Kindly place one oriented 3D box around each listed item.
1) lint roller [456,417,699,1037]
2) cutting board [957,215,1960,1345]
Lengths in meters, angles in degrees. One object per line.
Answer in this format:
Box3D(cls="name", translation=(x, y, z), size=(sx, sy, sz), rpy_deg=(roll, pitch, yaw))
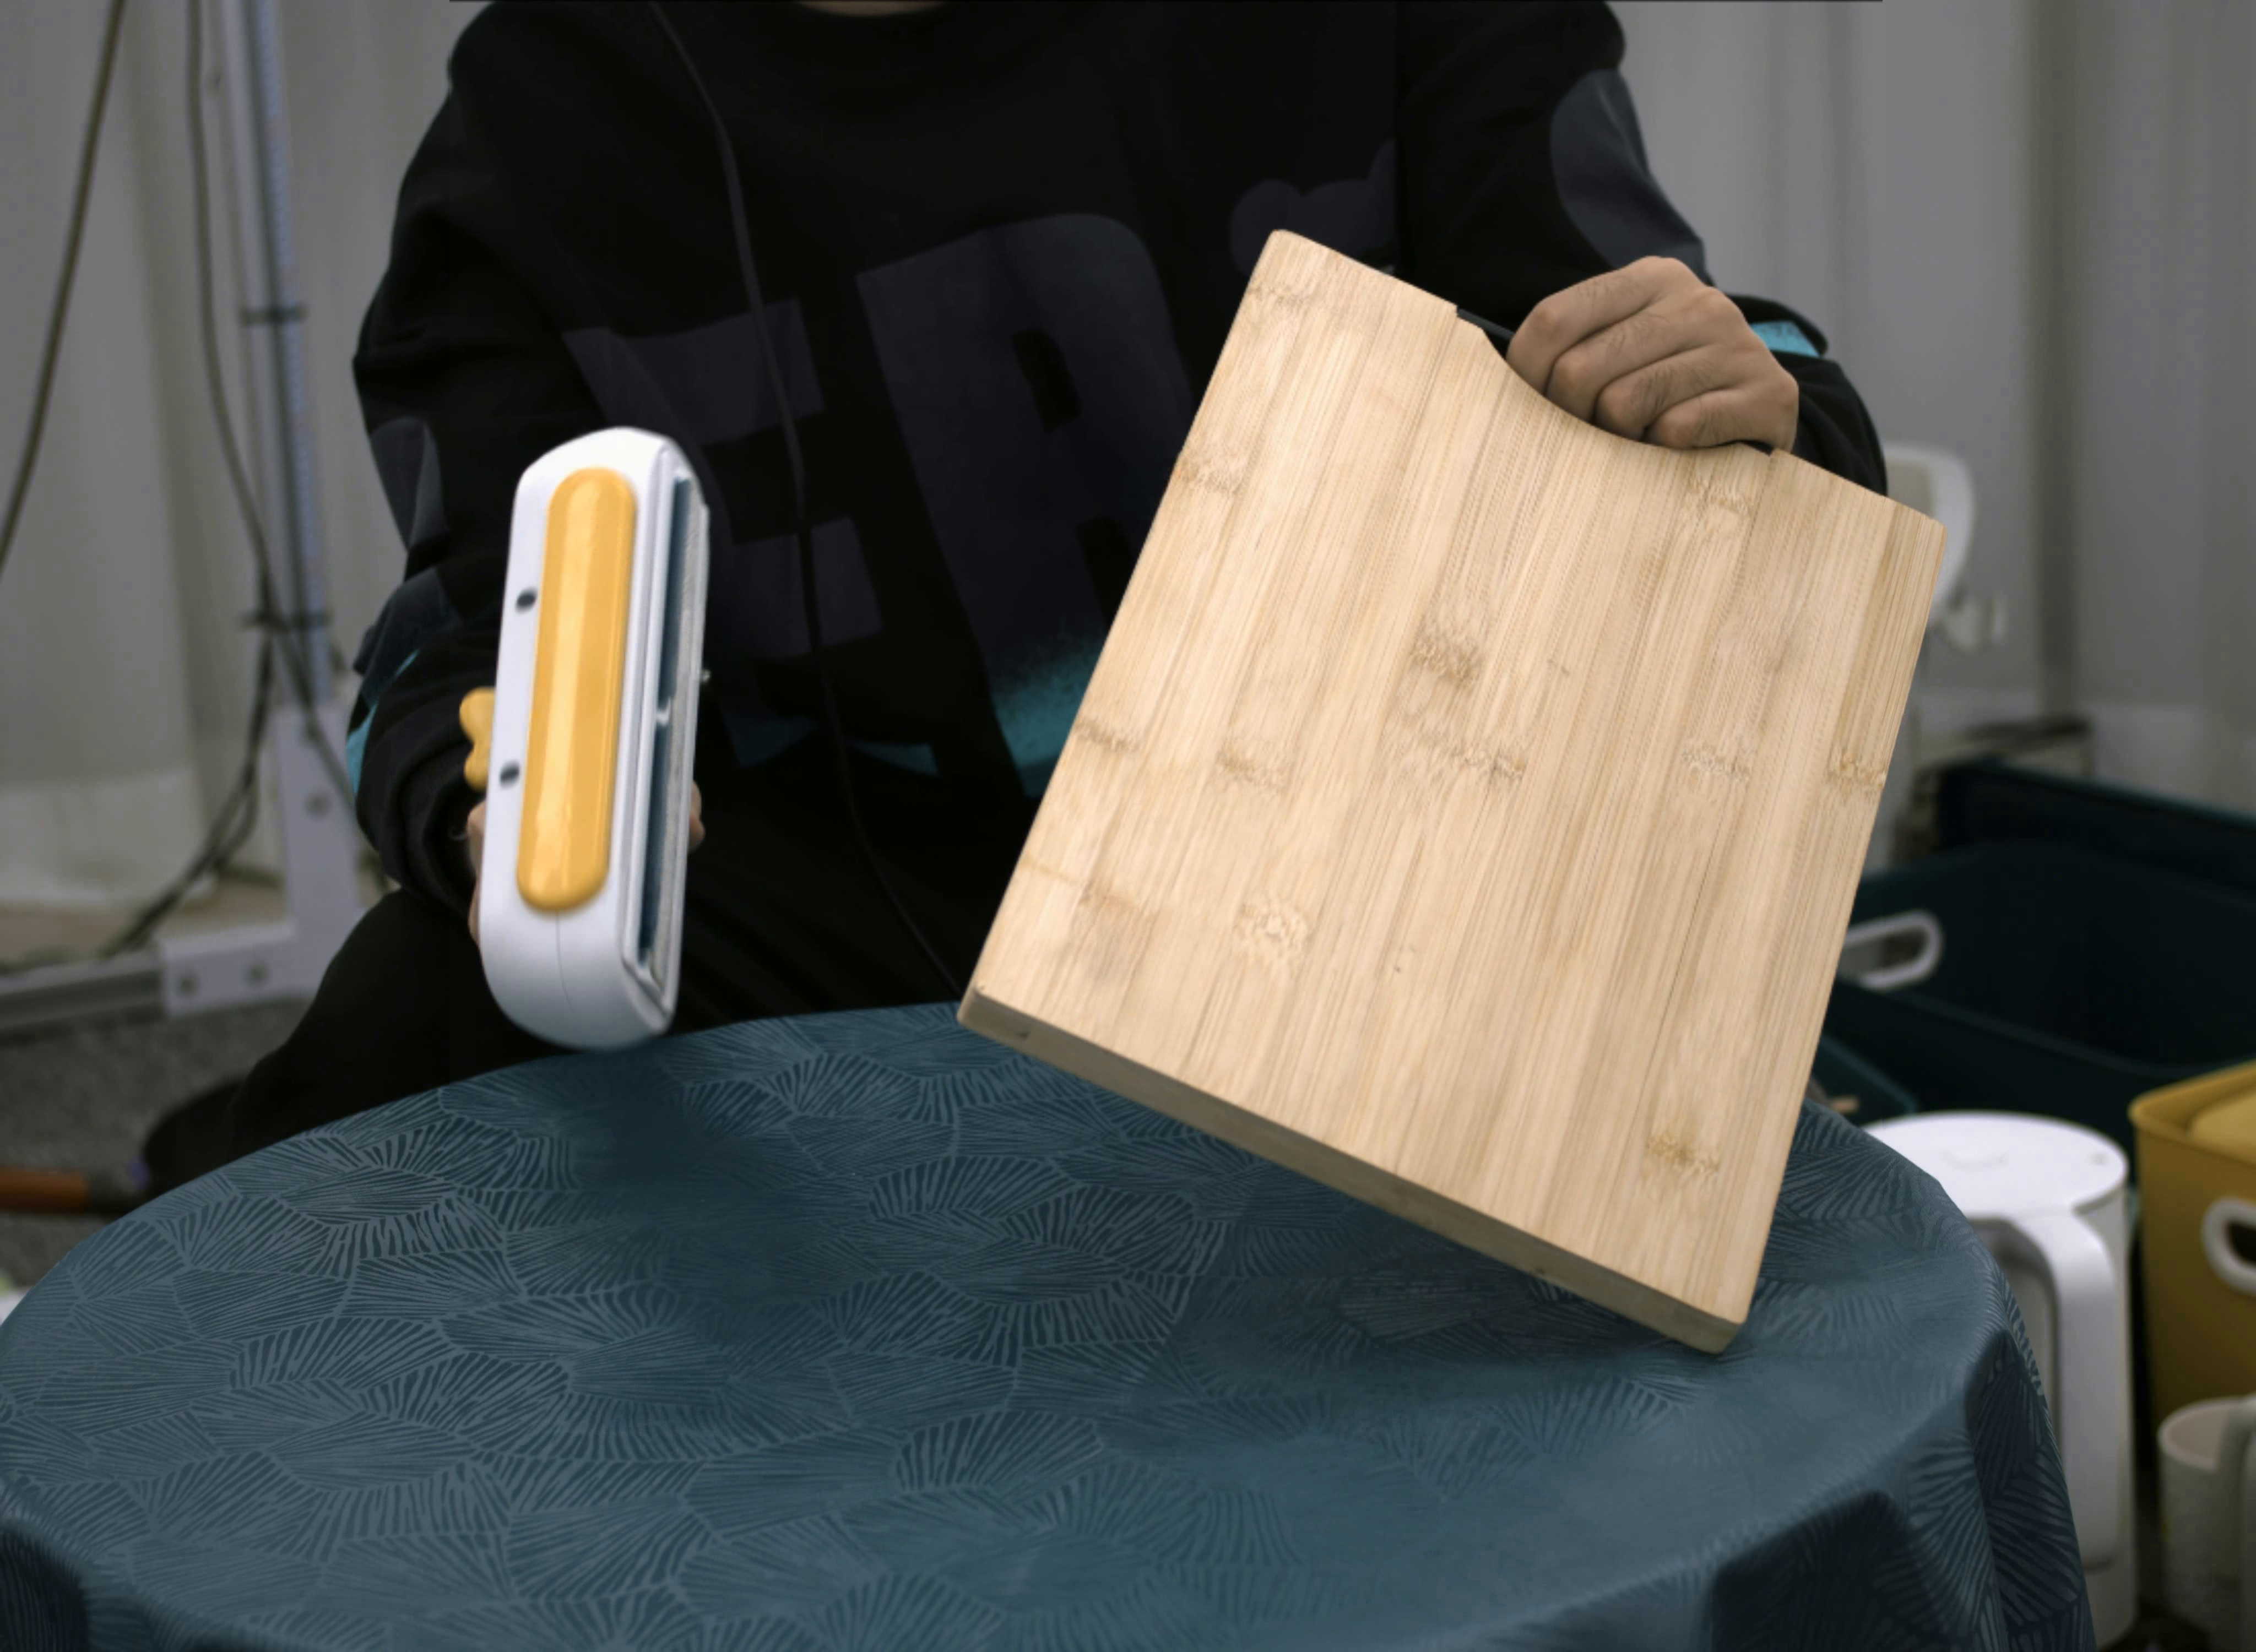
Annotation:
Box3D(cls="lint roller", translation=(-0.160, -0.003, 1.683), size=(0.074, 0.195, 0.190), rpy_deg=(-6, -28, 3))
Box3D(cls="cutting board", translation=(0.109, -0.024, 1.656), size=(0.250, 0.023, 0.353), rpy_deg=(23, 48, -3))
